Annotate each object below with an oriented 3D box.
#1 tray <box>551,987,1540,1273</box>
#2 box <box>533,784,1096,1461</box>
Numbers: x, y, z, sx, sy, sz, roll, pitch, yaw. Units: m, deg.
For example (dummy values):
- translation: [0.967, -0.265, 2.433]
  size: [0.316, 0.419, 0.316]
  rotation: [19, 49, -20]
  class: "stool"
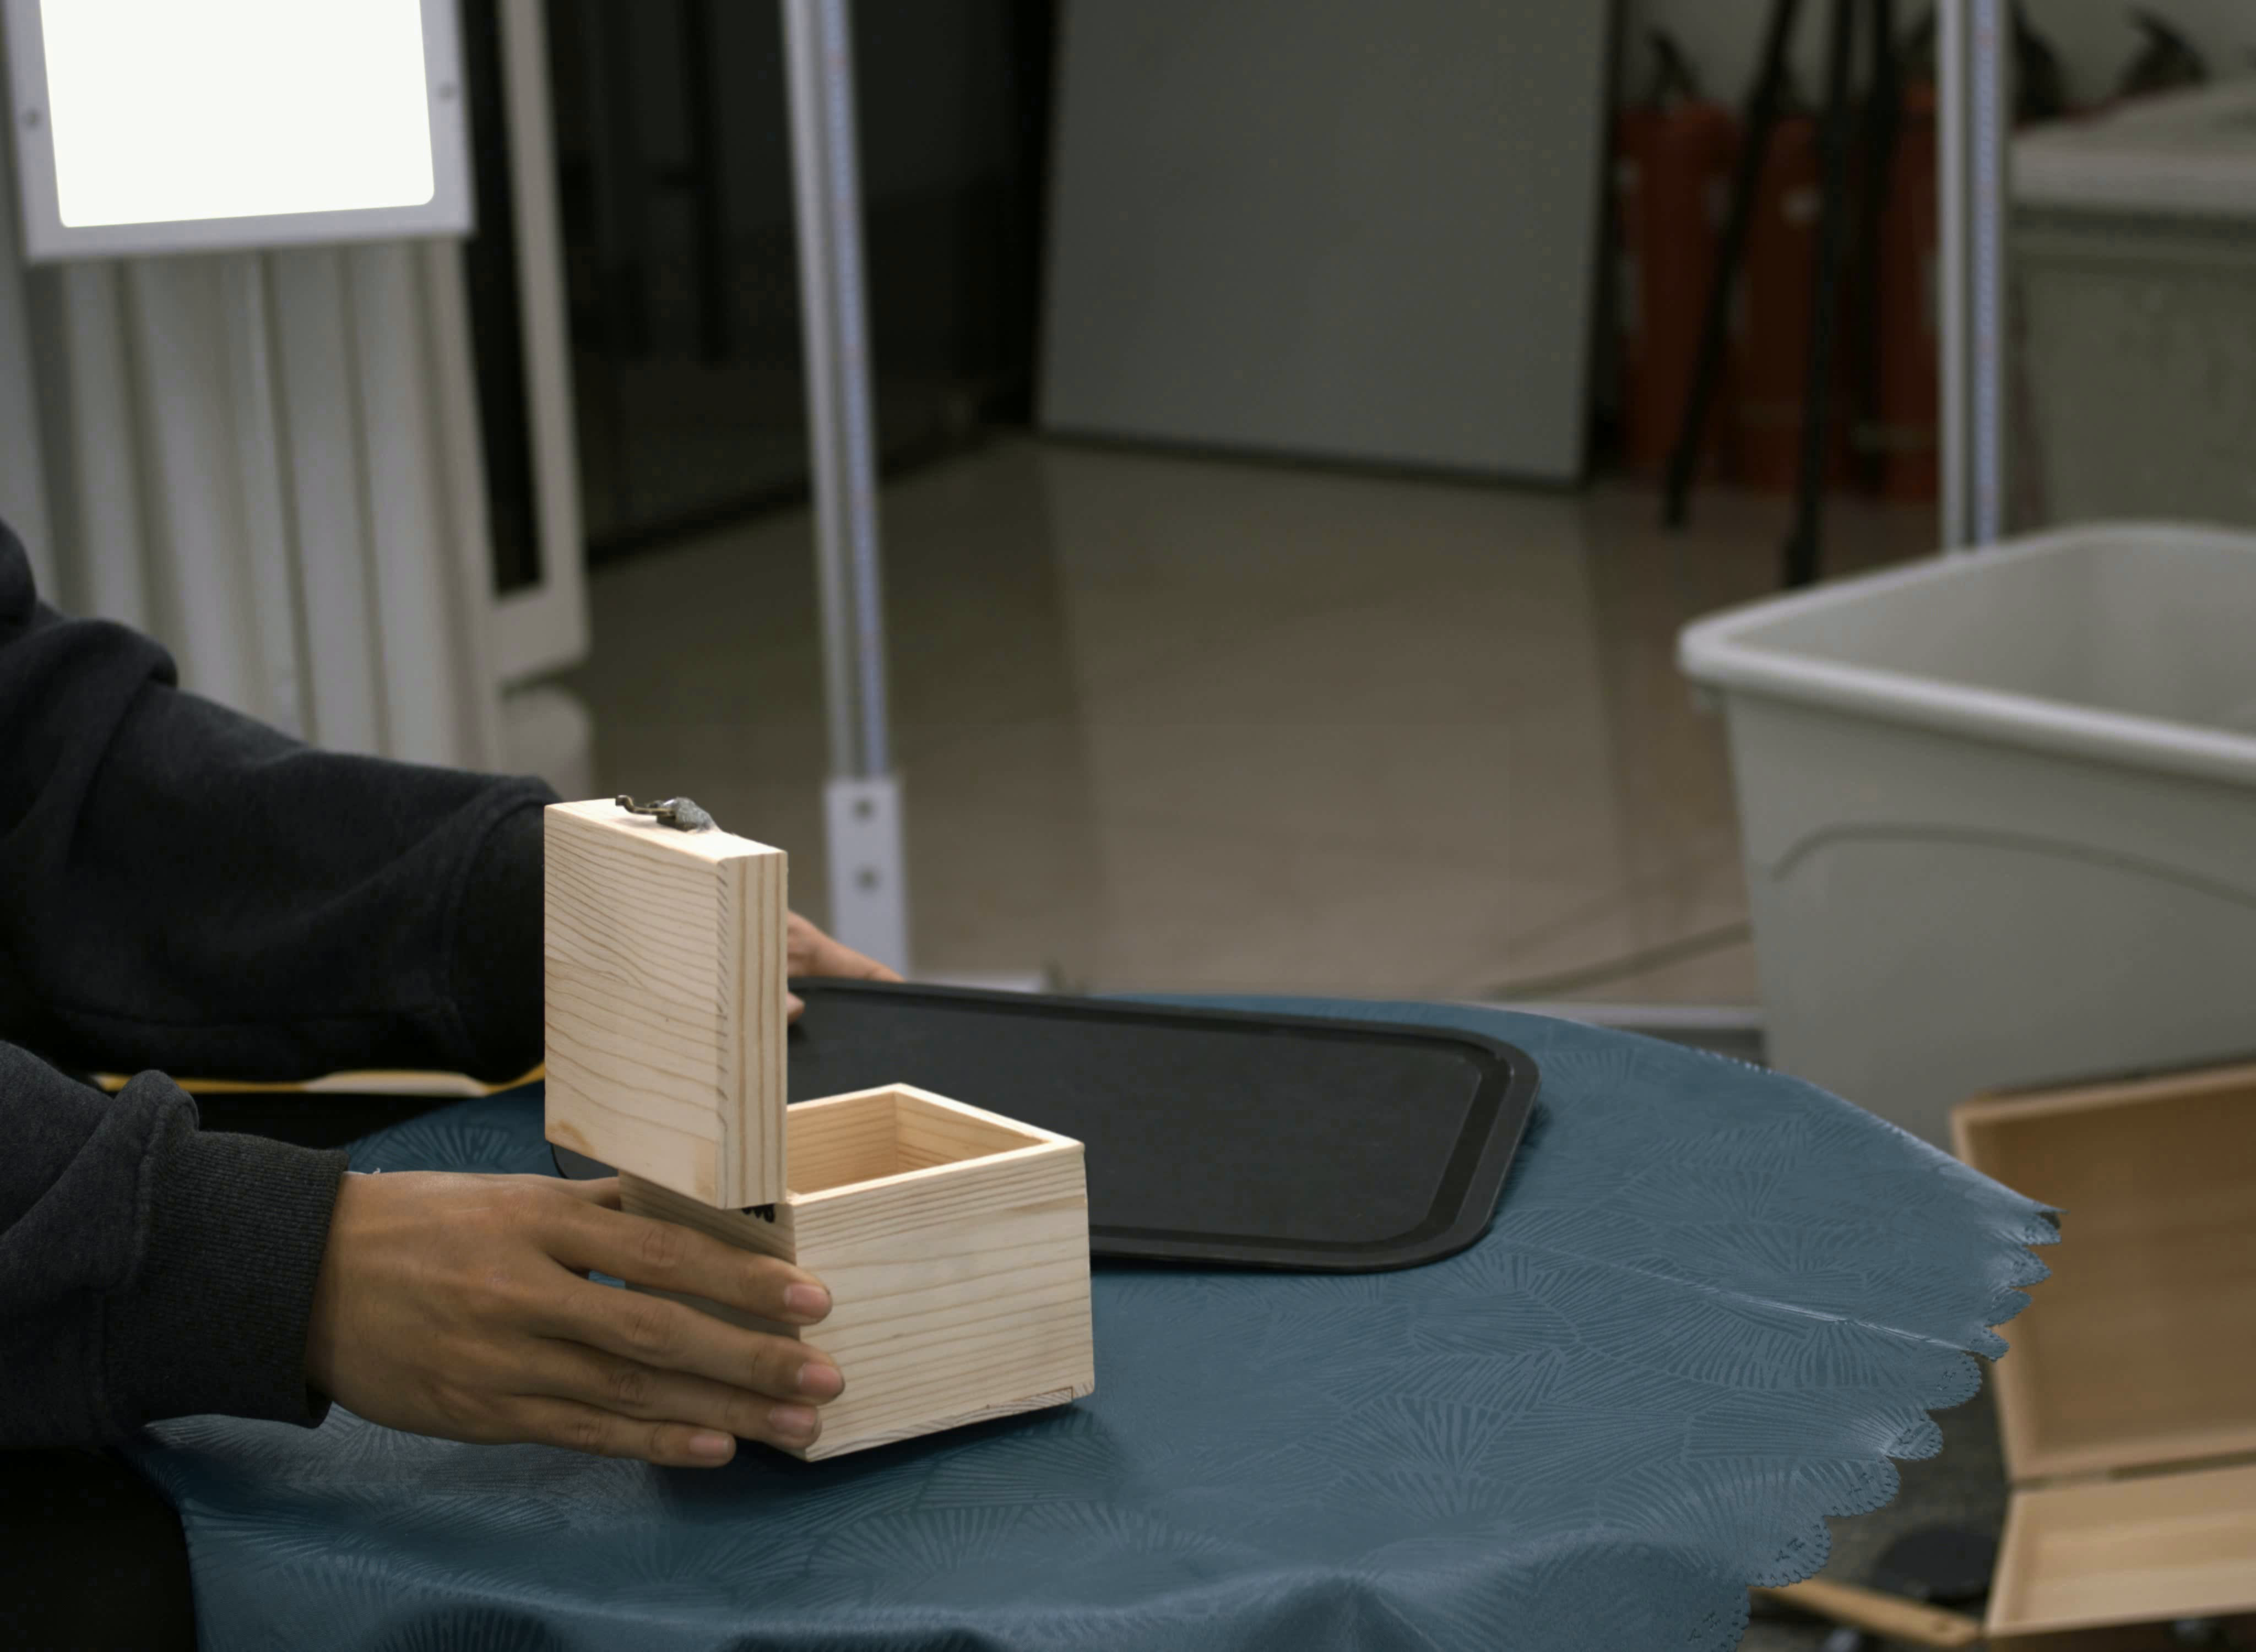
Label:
- translation: [-0.031, 0.097, 1.793]
  size: [0.324, 0.010, 0.210]
  rotation: [4, 19, 13]
  class: "tray"
- translation: [-0.089, 0.076, 1.561]
  size: [0.131, 0.186, 0.103]
  rotation: [-11, 13, -33]
  class: "box"
